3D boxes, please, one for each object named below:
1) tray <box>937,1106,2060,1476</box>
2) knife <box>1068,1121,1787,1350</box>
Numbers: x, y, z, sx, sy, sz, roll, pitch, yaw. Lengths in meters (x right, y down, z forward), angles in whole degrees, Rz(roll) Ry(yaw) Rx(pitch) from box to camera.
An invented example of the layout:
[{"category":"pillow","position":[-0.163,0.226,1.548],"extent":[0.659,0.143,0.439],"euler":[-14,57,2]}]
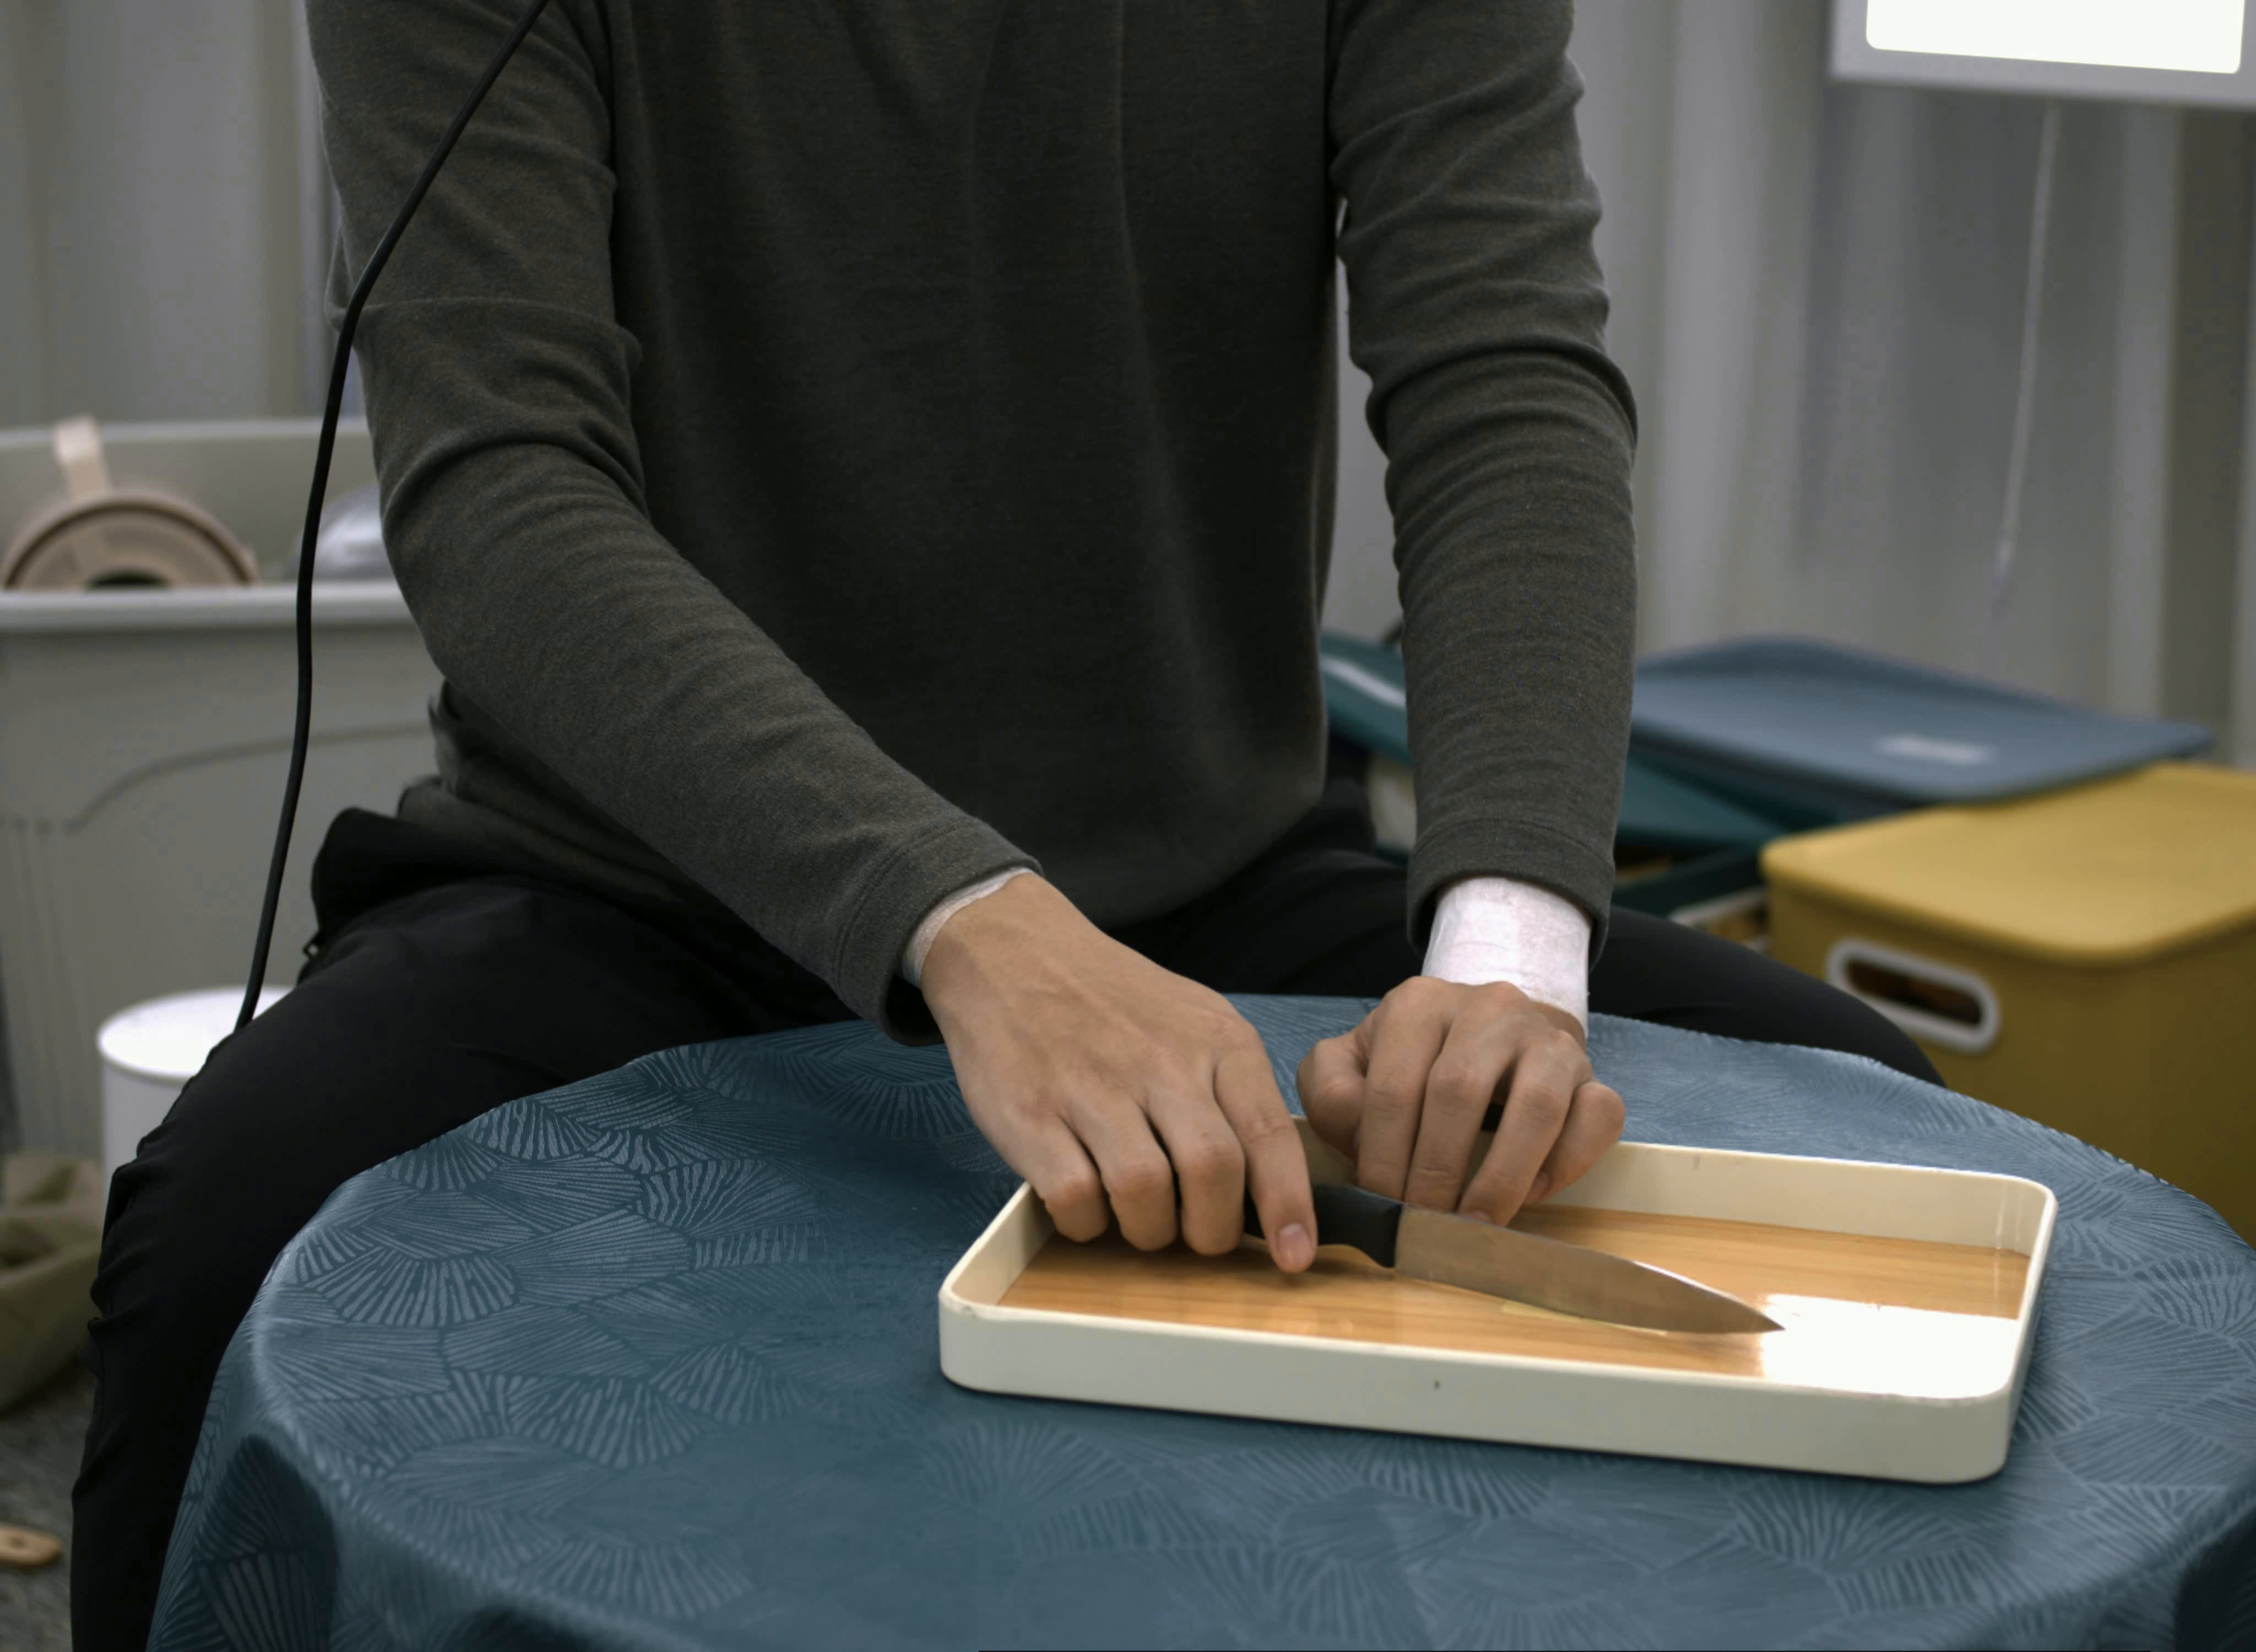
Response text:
[{"category":"tray","position":[0.110,0.131,1.514],"extent":[0.298,0.027,0.191],"euler":[4,15,13]},{"category":"knife","position":[0.084,0.118,1.526],"extent":[0.235,0.024,0.016],"euler":[13,23,29]}]
